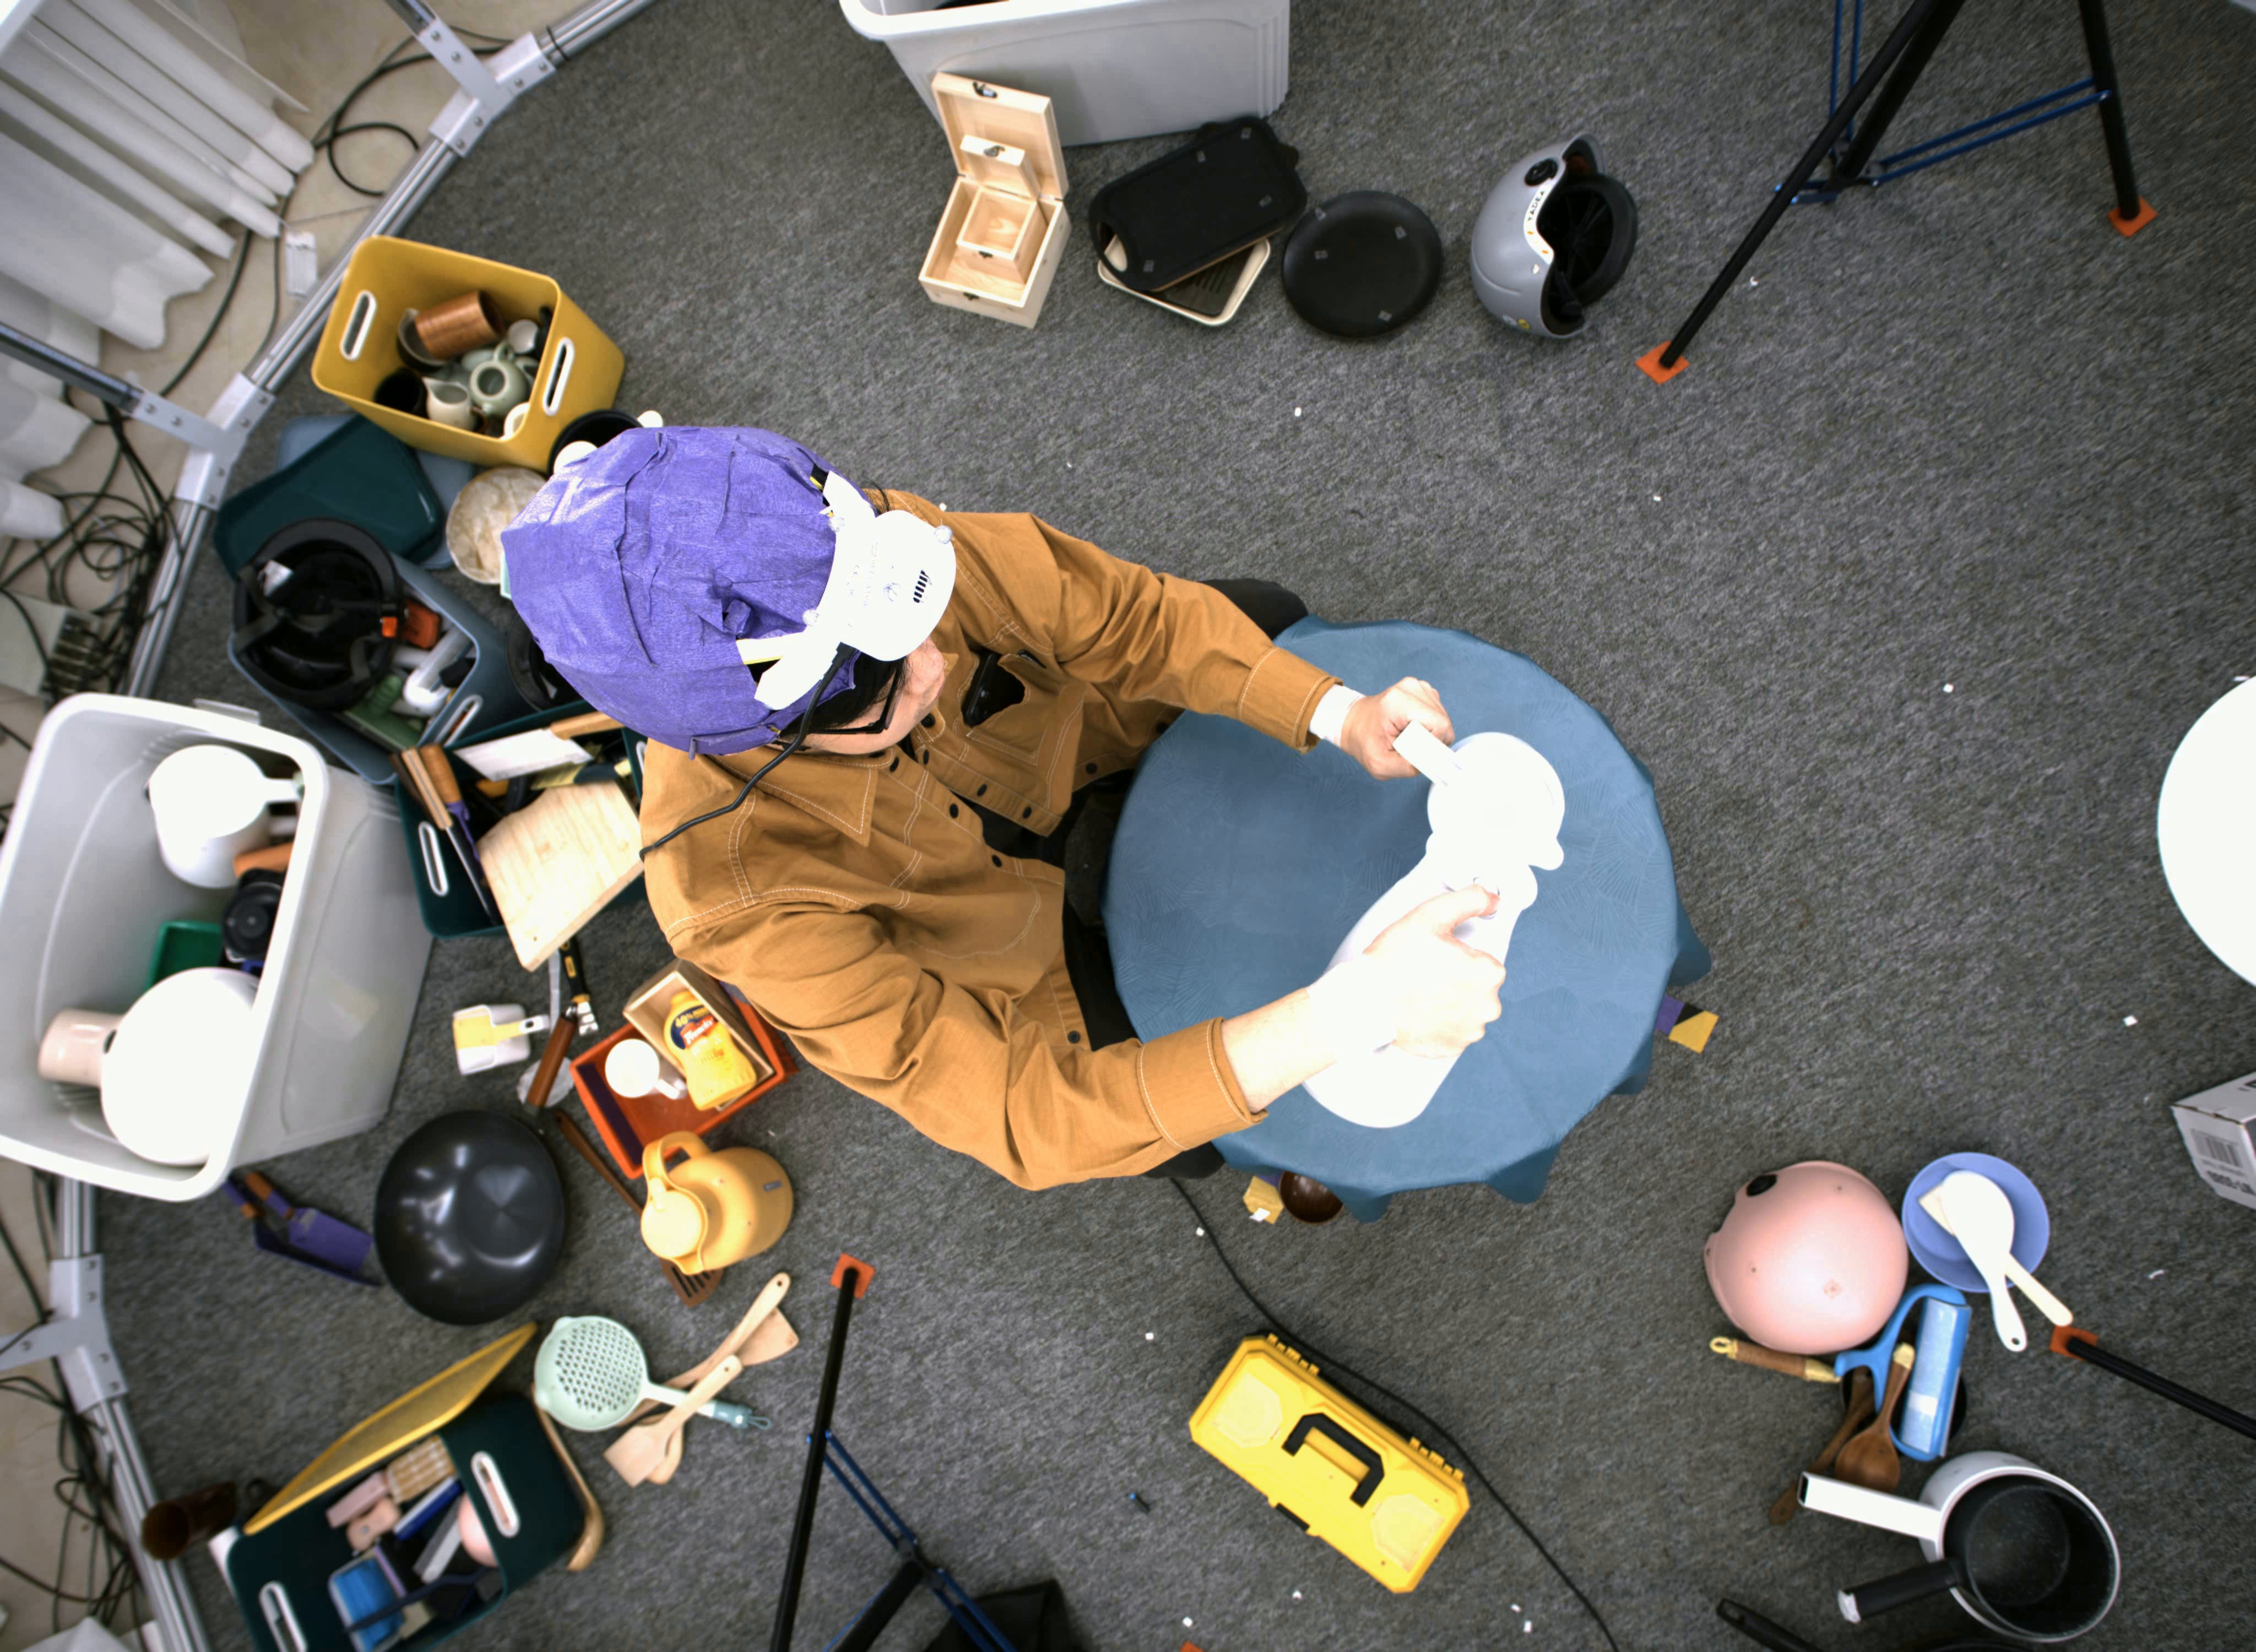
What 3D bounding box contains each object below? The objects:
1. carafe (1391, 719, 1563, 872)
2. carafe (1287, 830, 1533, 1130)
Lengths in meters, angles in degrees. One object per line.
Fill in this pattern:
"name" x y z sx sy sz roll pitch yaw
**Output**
"carafe" 0.319 -0.034 1.259 0.172 0.266 0.125 40 106 7
"carafe" 0.229 0.129 1.105 0.132 0.163 0.255 22 130 1
